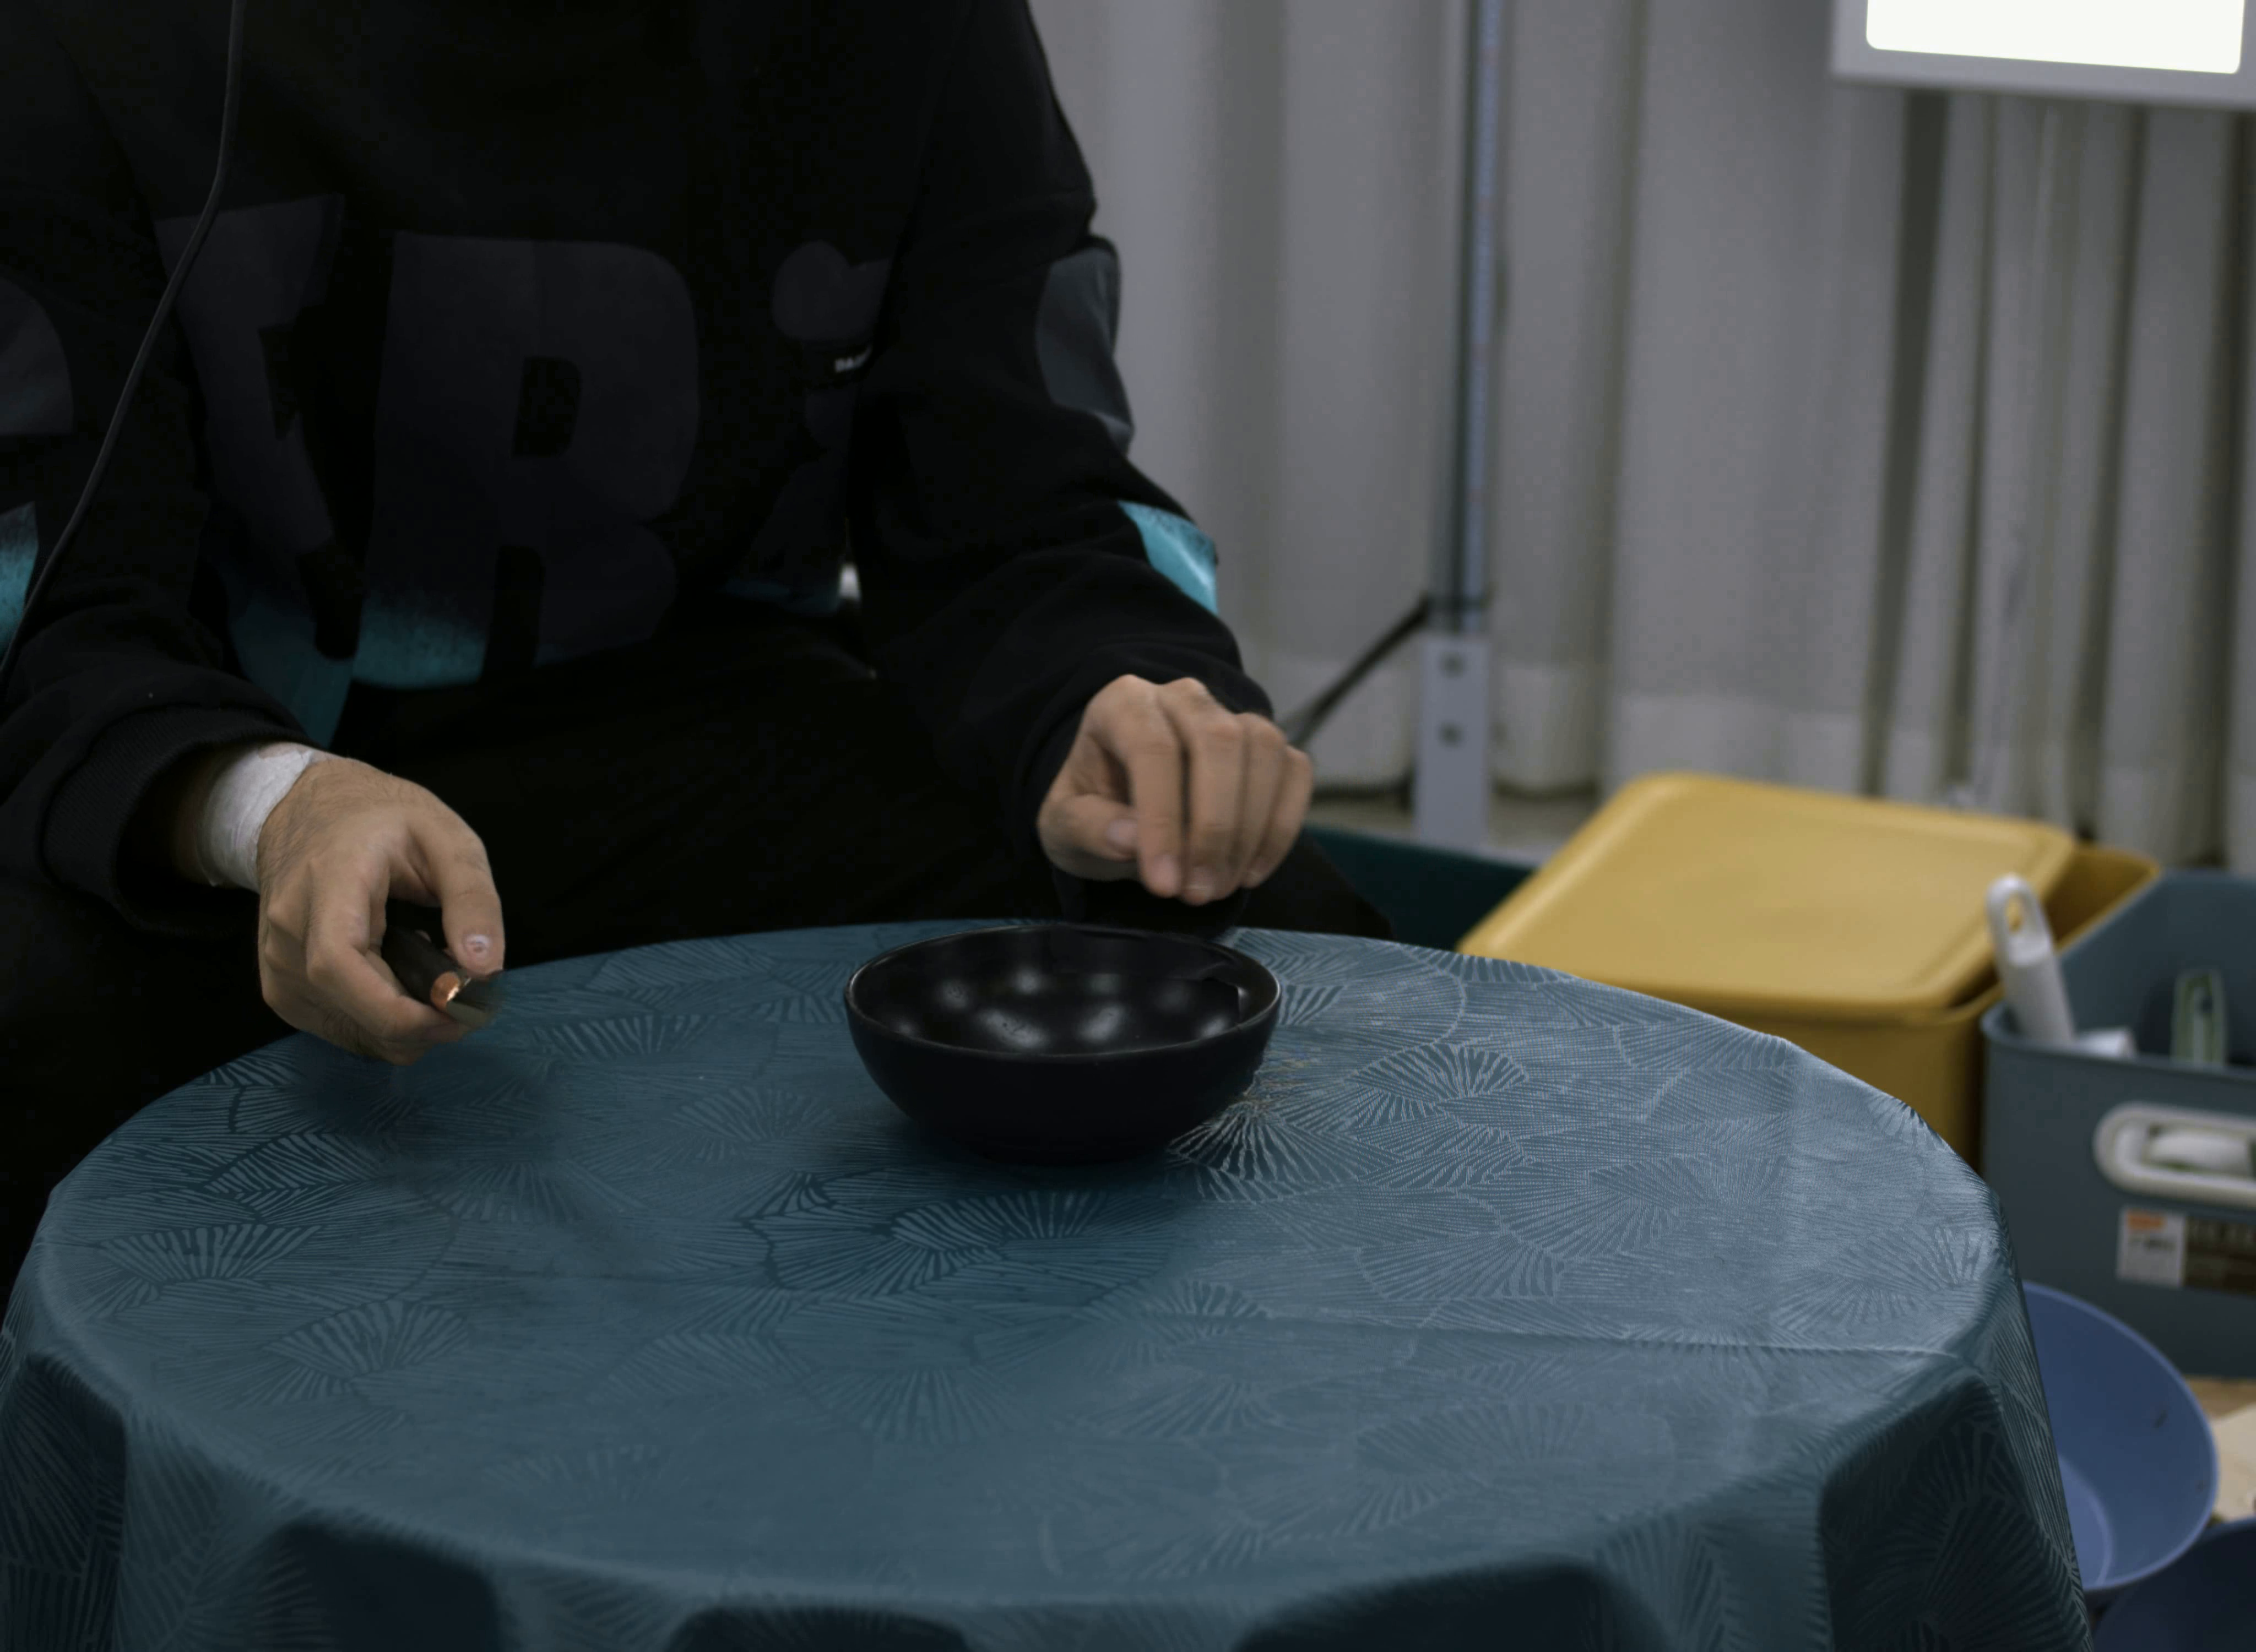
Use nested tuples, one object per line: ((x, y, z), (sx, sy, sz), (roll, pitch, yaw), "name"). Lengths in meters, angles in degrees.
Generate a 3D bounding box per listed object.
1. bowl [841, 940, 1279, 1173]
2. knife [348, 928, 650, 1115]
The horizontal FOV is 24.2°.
((-0.020, 0.077, 1.668), (0.139, 0.050, 0.139), (-3, 13, 1), "bowl")
((-0.196, 0.059, 1.614), (0.026, 0.017, 0.223), (26, -2, -30), "knife")
